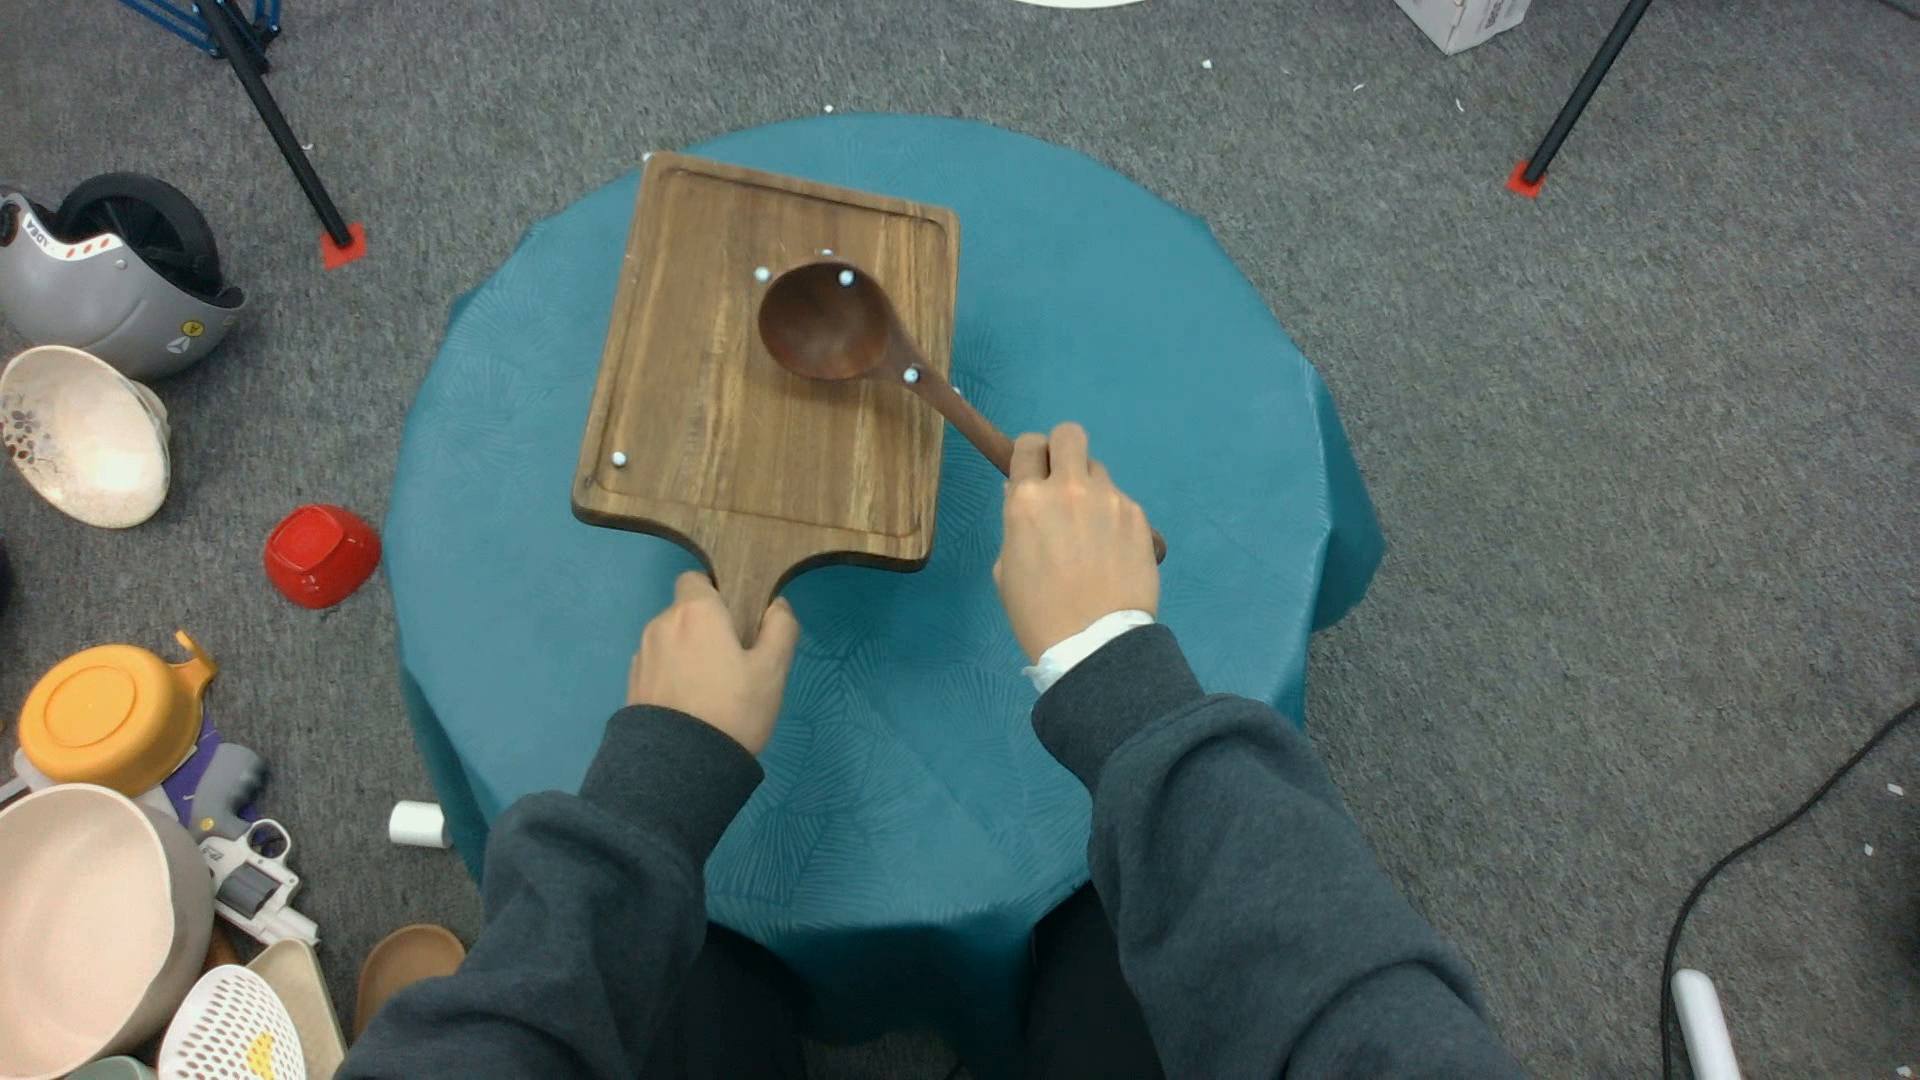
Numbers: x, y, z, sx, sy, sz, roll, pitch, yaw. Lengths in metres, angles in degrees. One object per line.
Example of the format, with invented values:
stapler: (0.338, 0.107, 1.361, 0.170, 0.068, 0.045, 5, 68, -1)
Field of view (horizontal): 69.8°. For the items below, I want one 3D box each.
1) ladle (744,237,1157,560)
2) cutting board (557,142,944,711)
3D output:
ladle: (-0.008, -0.069, 0.732, 0.260, 0.076, 0.065, 41, 33, 14)
cutting board: (-0.115, -0.073, 0.776, 0.201, 0.023, 0.353, 8, 62, -9)
